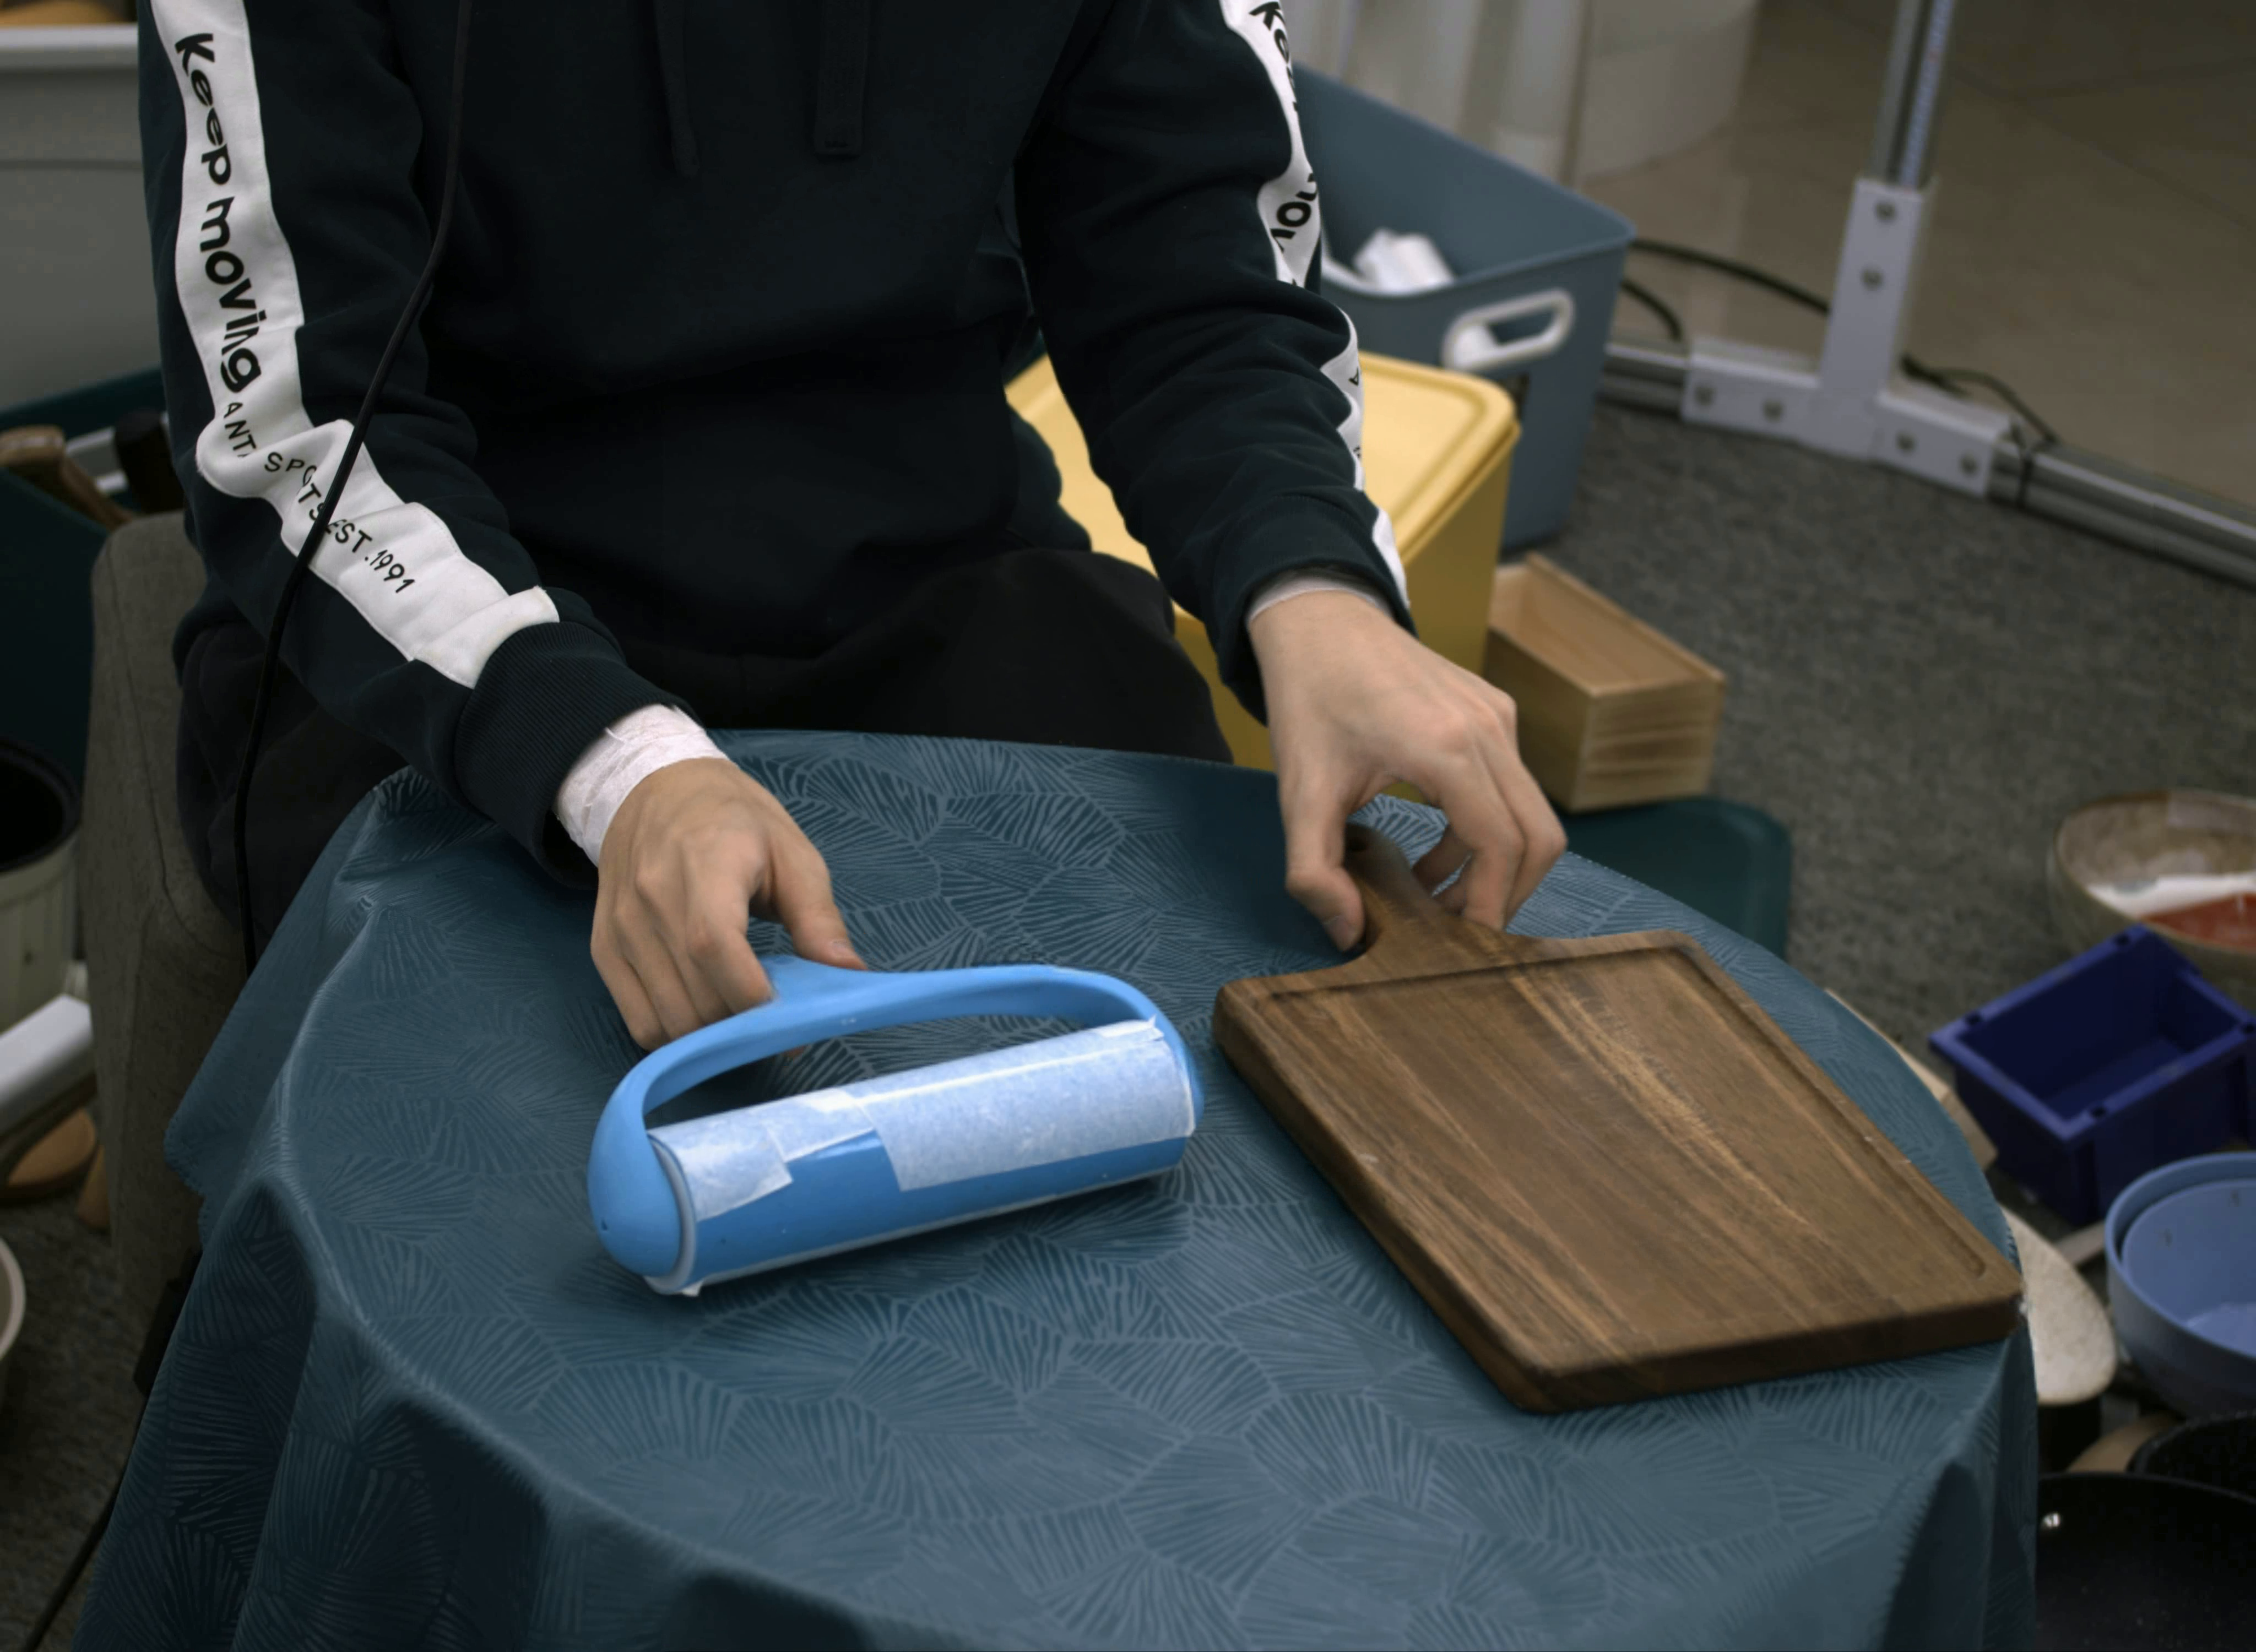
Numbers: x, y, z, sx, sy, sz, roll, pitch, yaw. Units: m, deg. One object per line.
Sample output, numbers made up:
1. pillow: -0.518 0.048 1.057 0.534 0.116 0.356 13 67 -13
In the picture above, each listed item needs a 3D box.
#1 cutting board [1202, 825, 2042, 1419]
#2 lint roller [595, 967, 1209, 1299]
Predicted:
1. cutting board: 0.145 0.090 1.866 0.200 0.023 0.355 -6 31 -26
2. lint roller: -0.105 0.082 1.794 0.227 0.068 0.182 -14 34 -33
